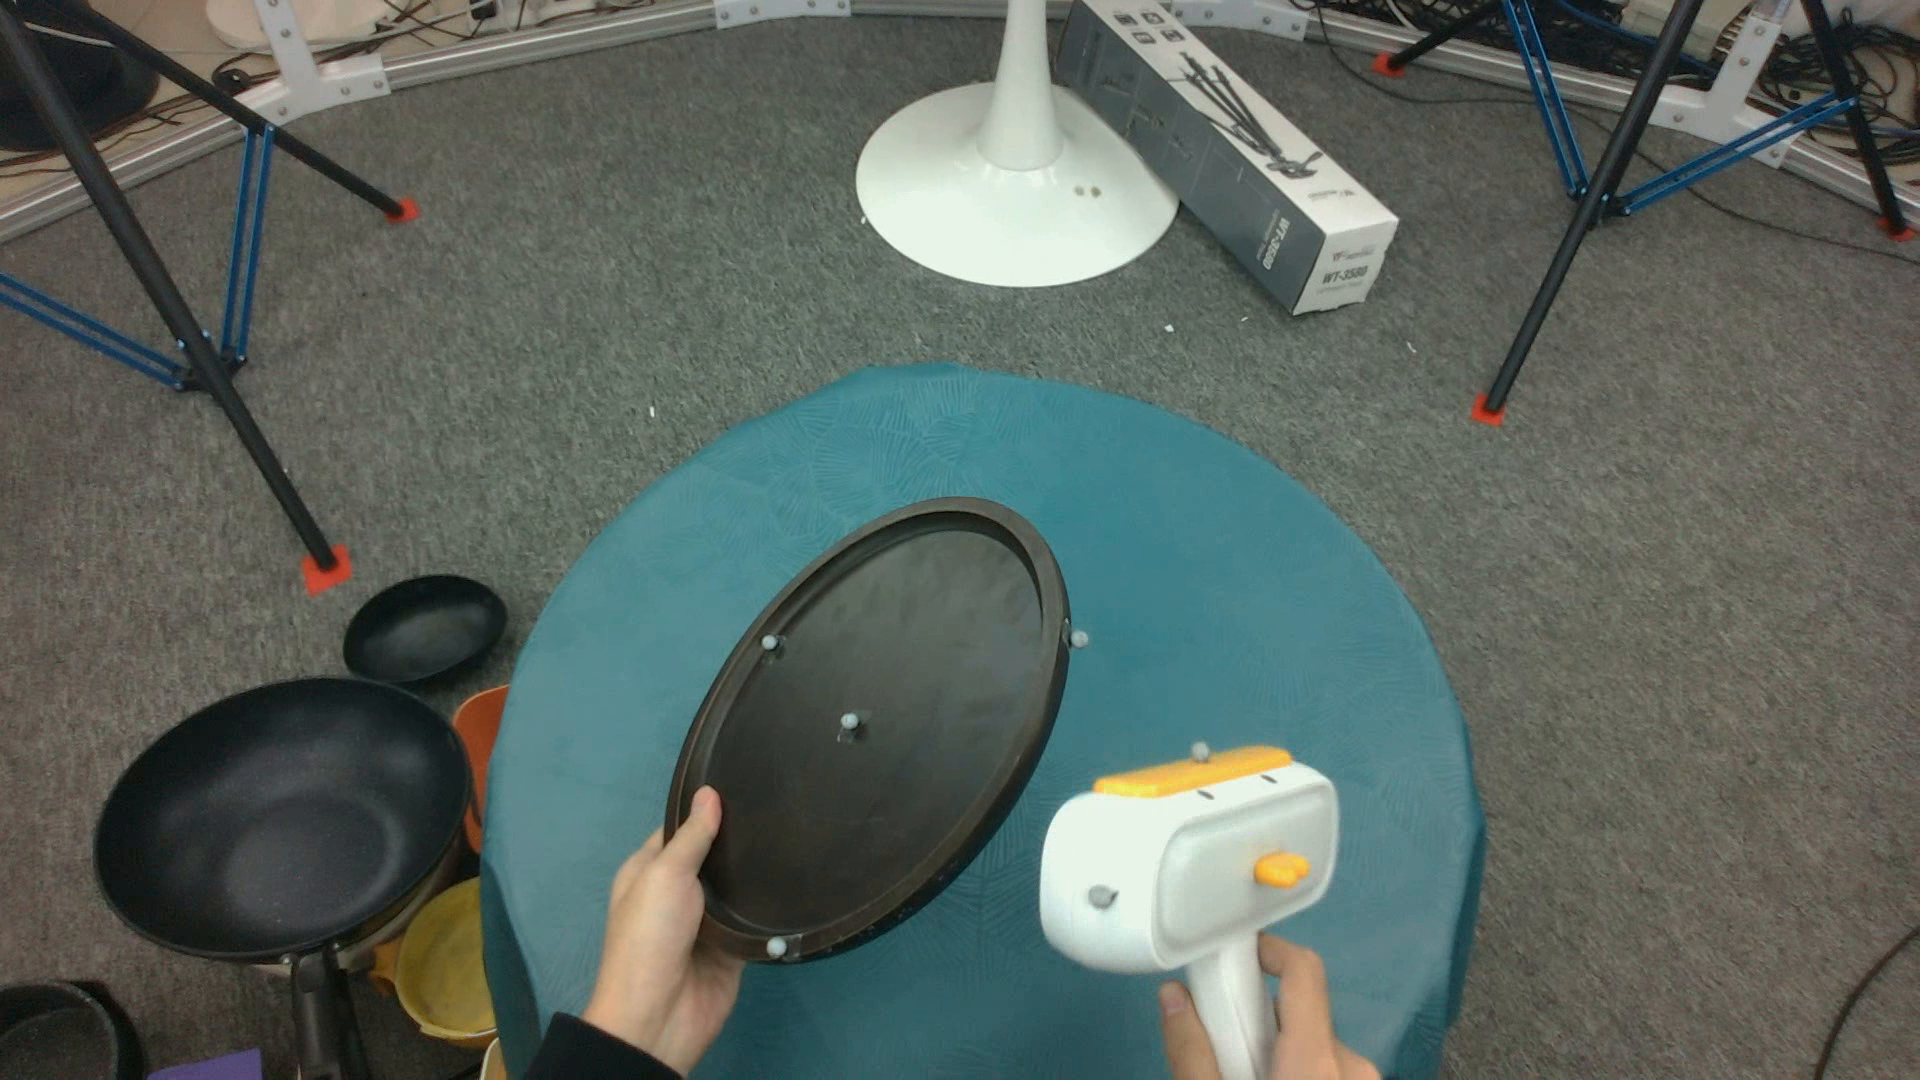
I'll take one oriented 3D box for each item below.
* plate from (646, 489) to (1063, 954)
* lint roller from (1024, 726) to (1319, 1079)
[{"bbox_3d":[-0.055,0.081,0.673,0.254,0.029,0.256,-26,41,26],"label":"plate"},{"bbox_3d":[0.104,0.181,0.559,0.074,0.193,0.192,-7,88,32],"label":"lint roller"}]
